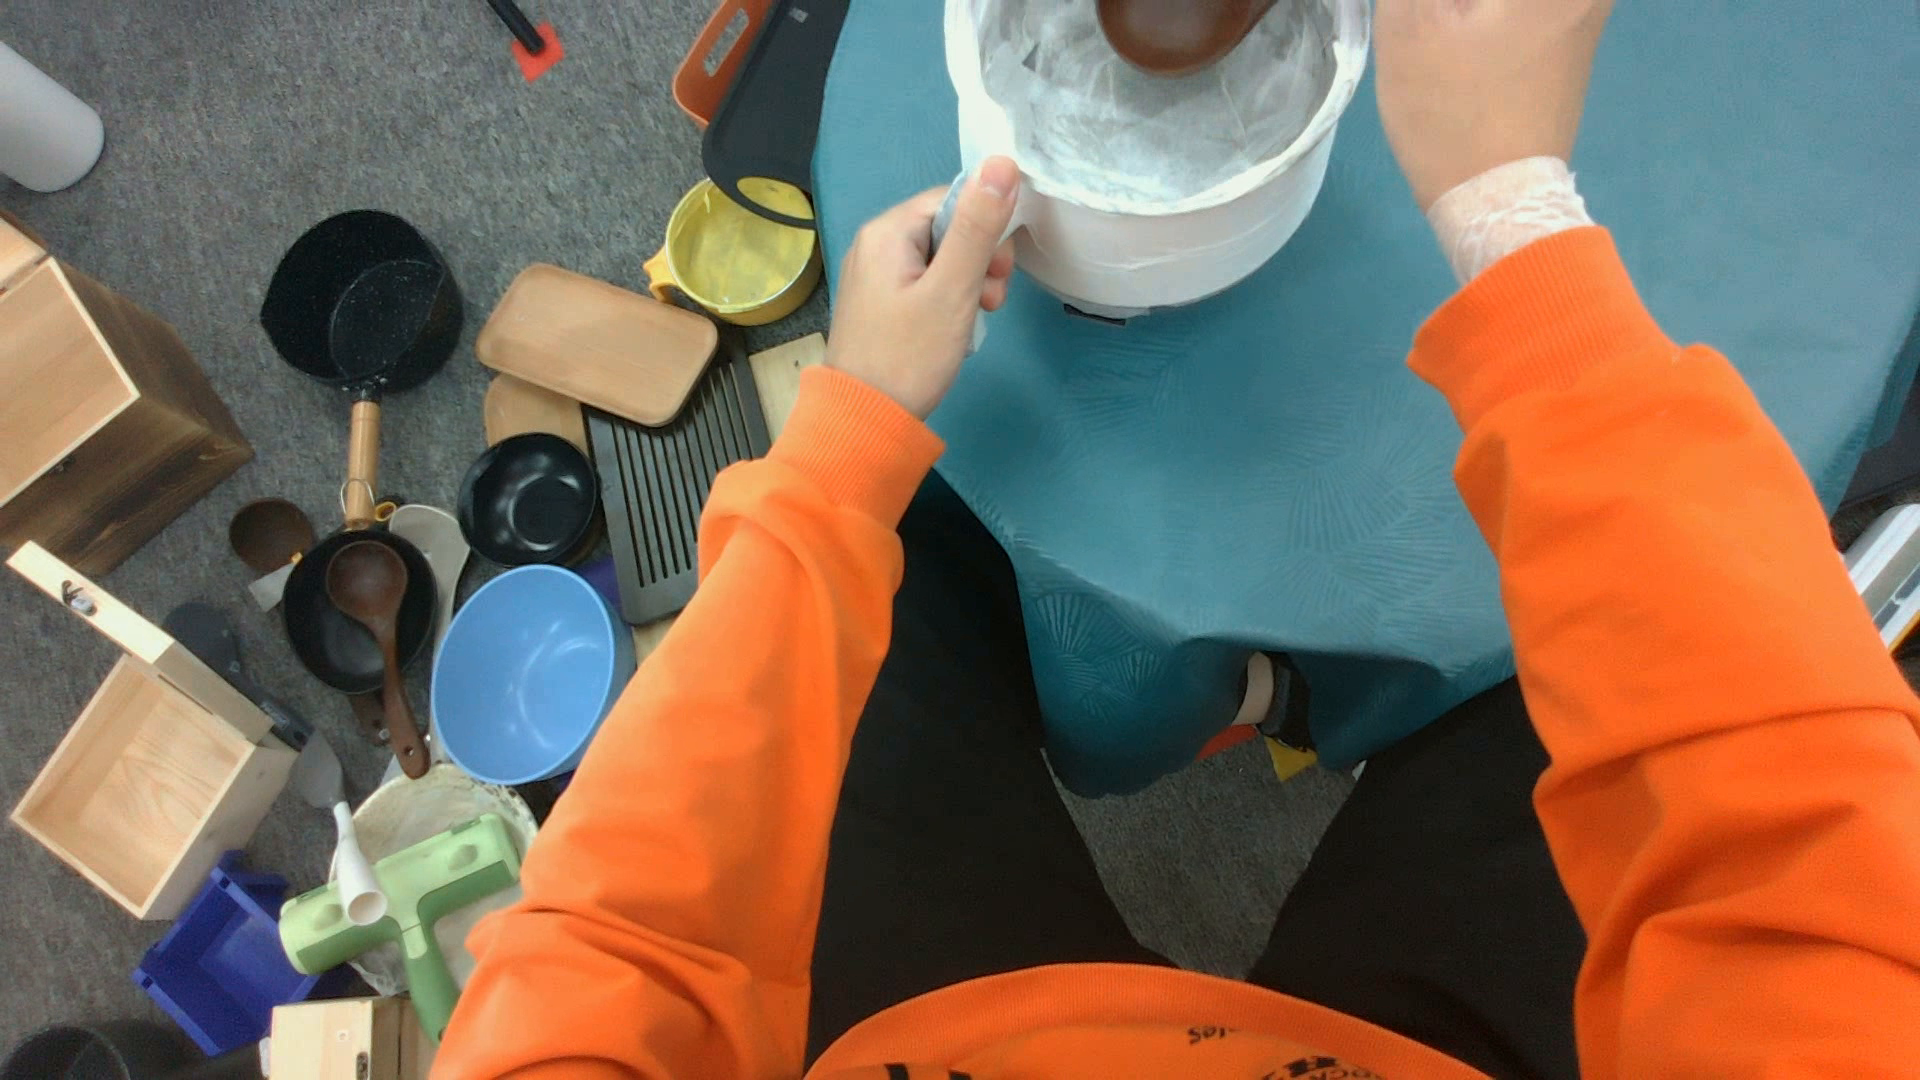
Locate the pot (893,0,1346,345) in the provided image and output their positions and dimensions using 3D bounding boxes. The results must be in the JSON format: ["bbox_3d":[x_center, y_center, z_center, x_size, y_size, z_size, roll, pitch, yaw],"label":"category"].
[{"bbox_3d":[0.058,-0.191,0.639,0.179,0.136,0.234,43,84,11],"label":"pot"}]

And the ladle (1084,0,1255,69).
[{"bbox_3d":[0.132,-0.239,0.520,0.065,0.260,0.076,-19,103,-20],"label":"ladle"}]
